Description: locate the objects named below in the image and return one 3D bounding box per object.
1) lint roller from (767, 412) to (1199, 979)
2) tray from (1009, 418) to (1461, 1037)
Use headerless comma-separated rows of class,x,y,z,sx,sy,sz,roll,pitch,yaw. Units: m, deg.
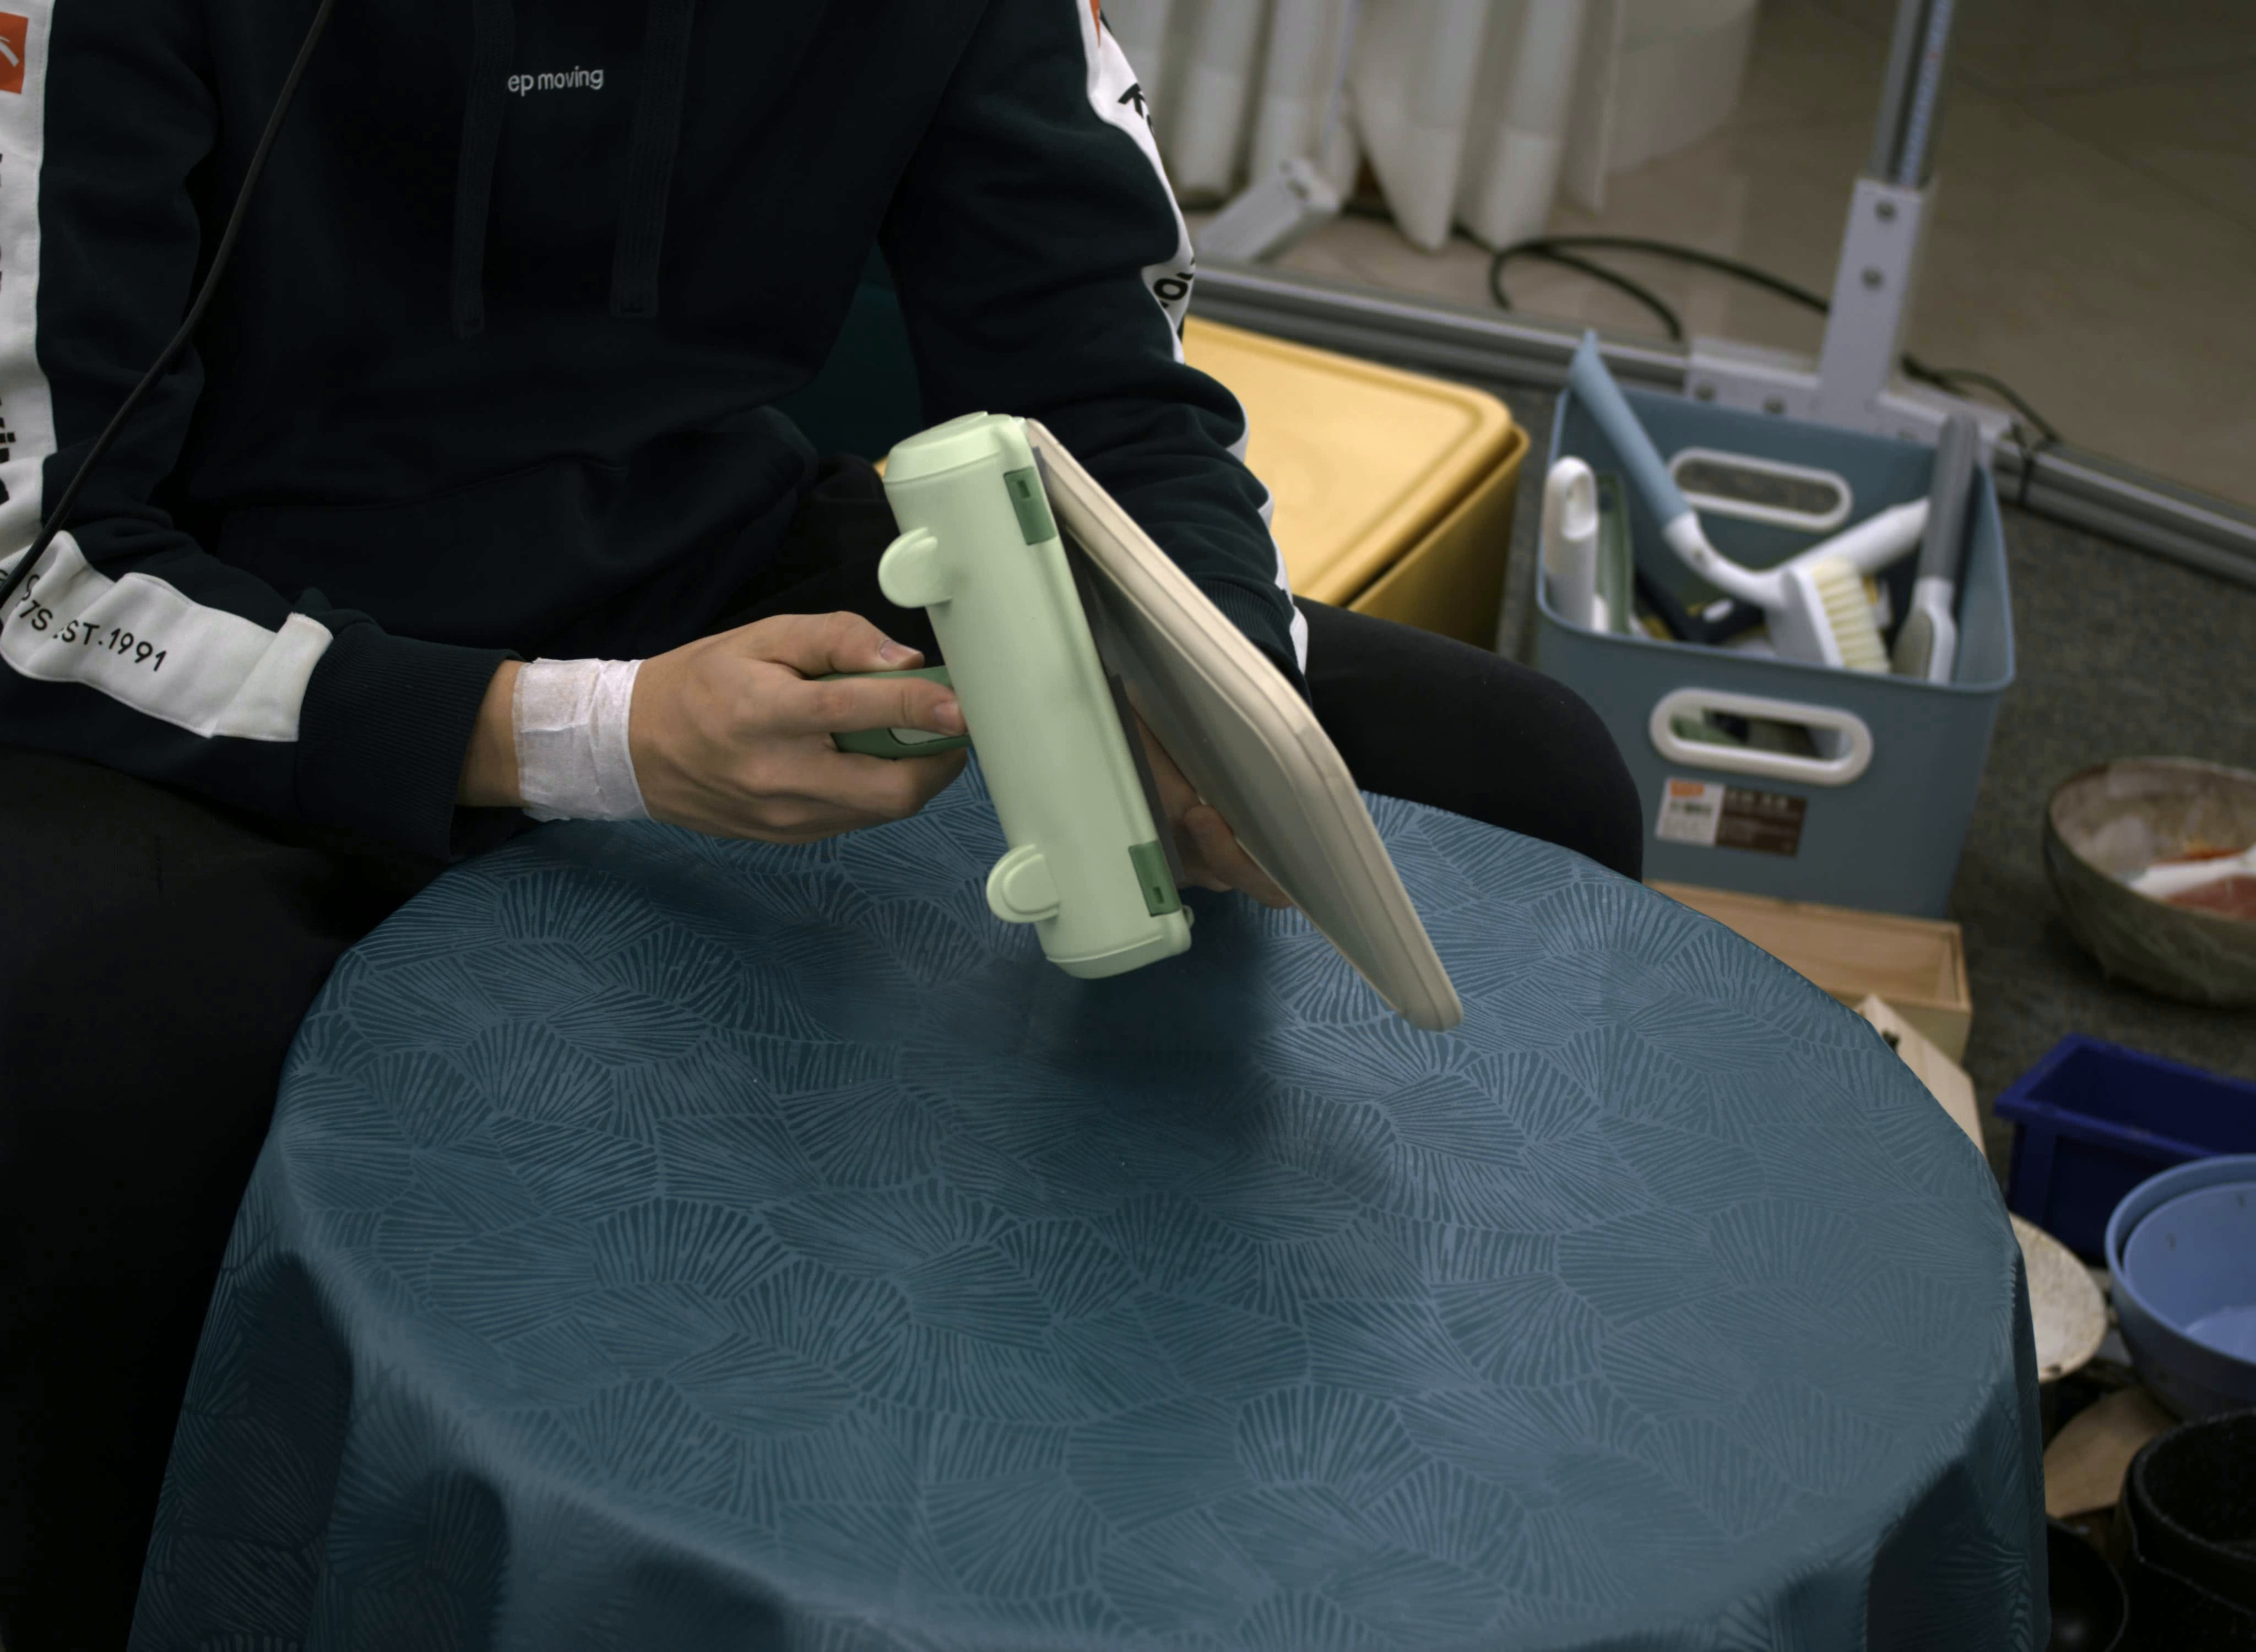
lint roller,-0.076,-0.034,1.857,0.184,0.198,0.082,-12,13,39
tray,0.032,-0.033,1.834,0.017,0.170,0.242,-33,41,-8
